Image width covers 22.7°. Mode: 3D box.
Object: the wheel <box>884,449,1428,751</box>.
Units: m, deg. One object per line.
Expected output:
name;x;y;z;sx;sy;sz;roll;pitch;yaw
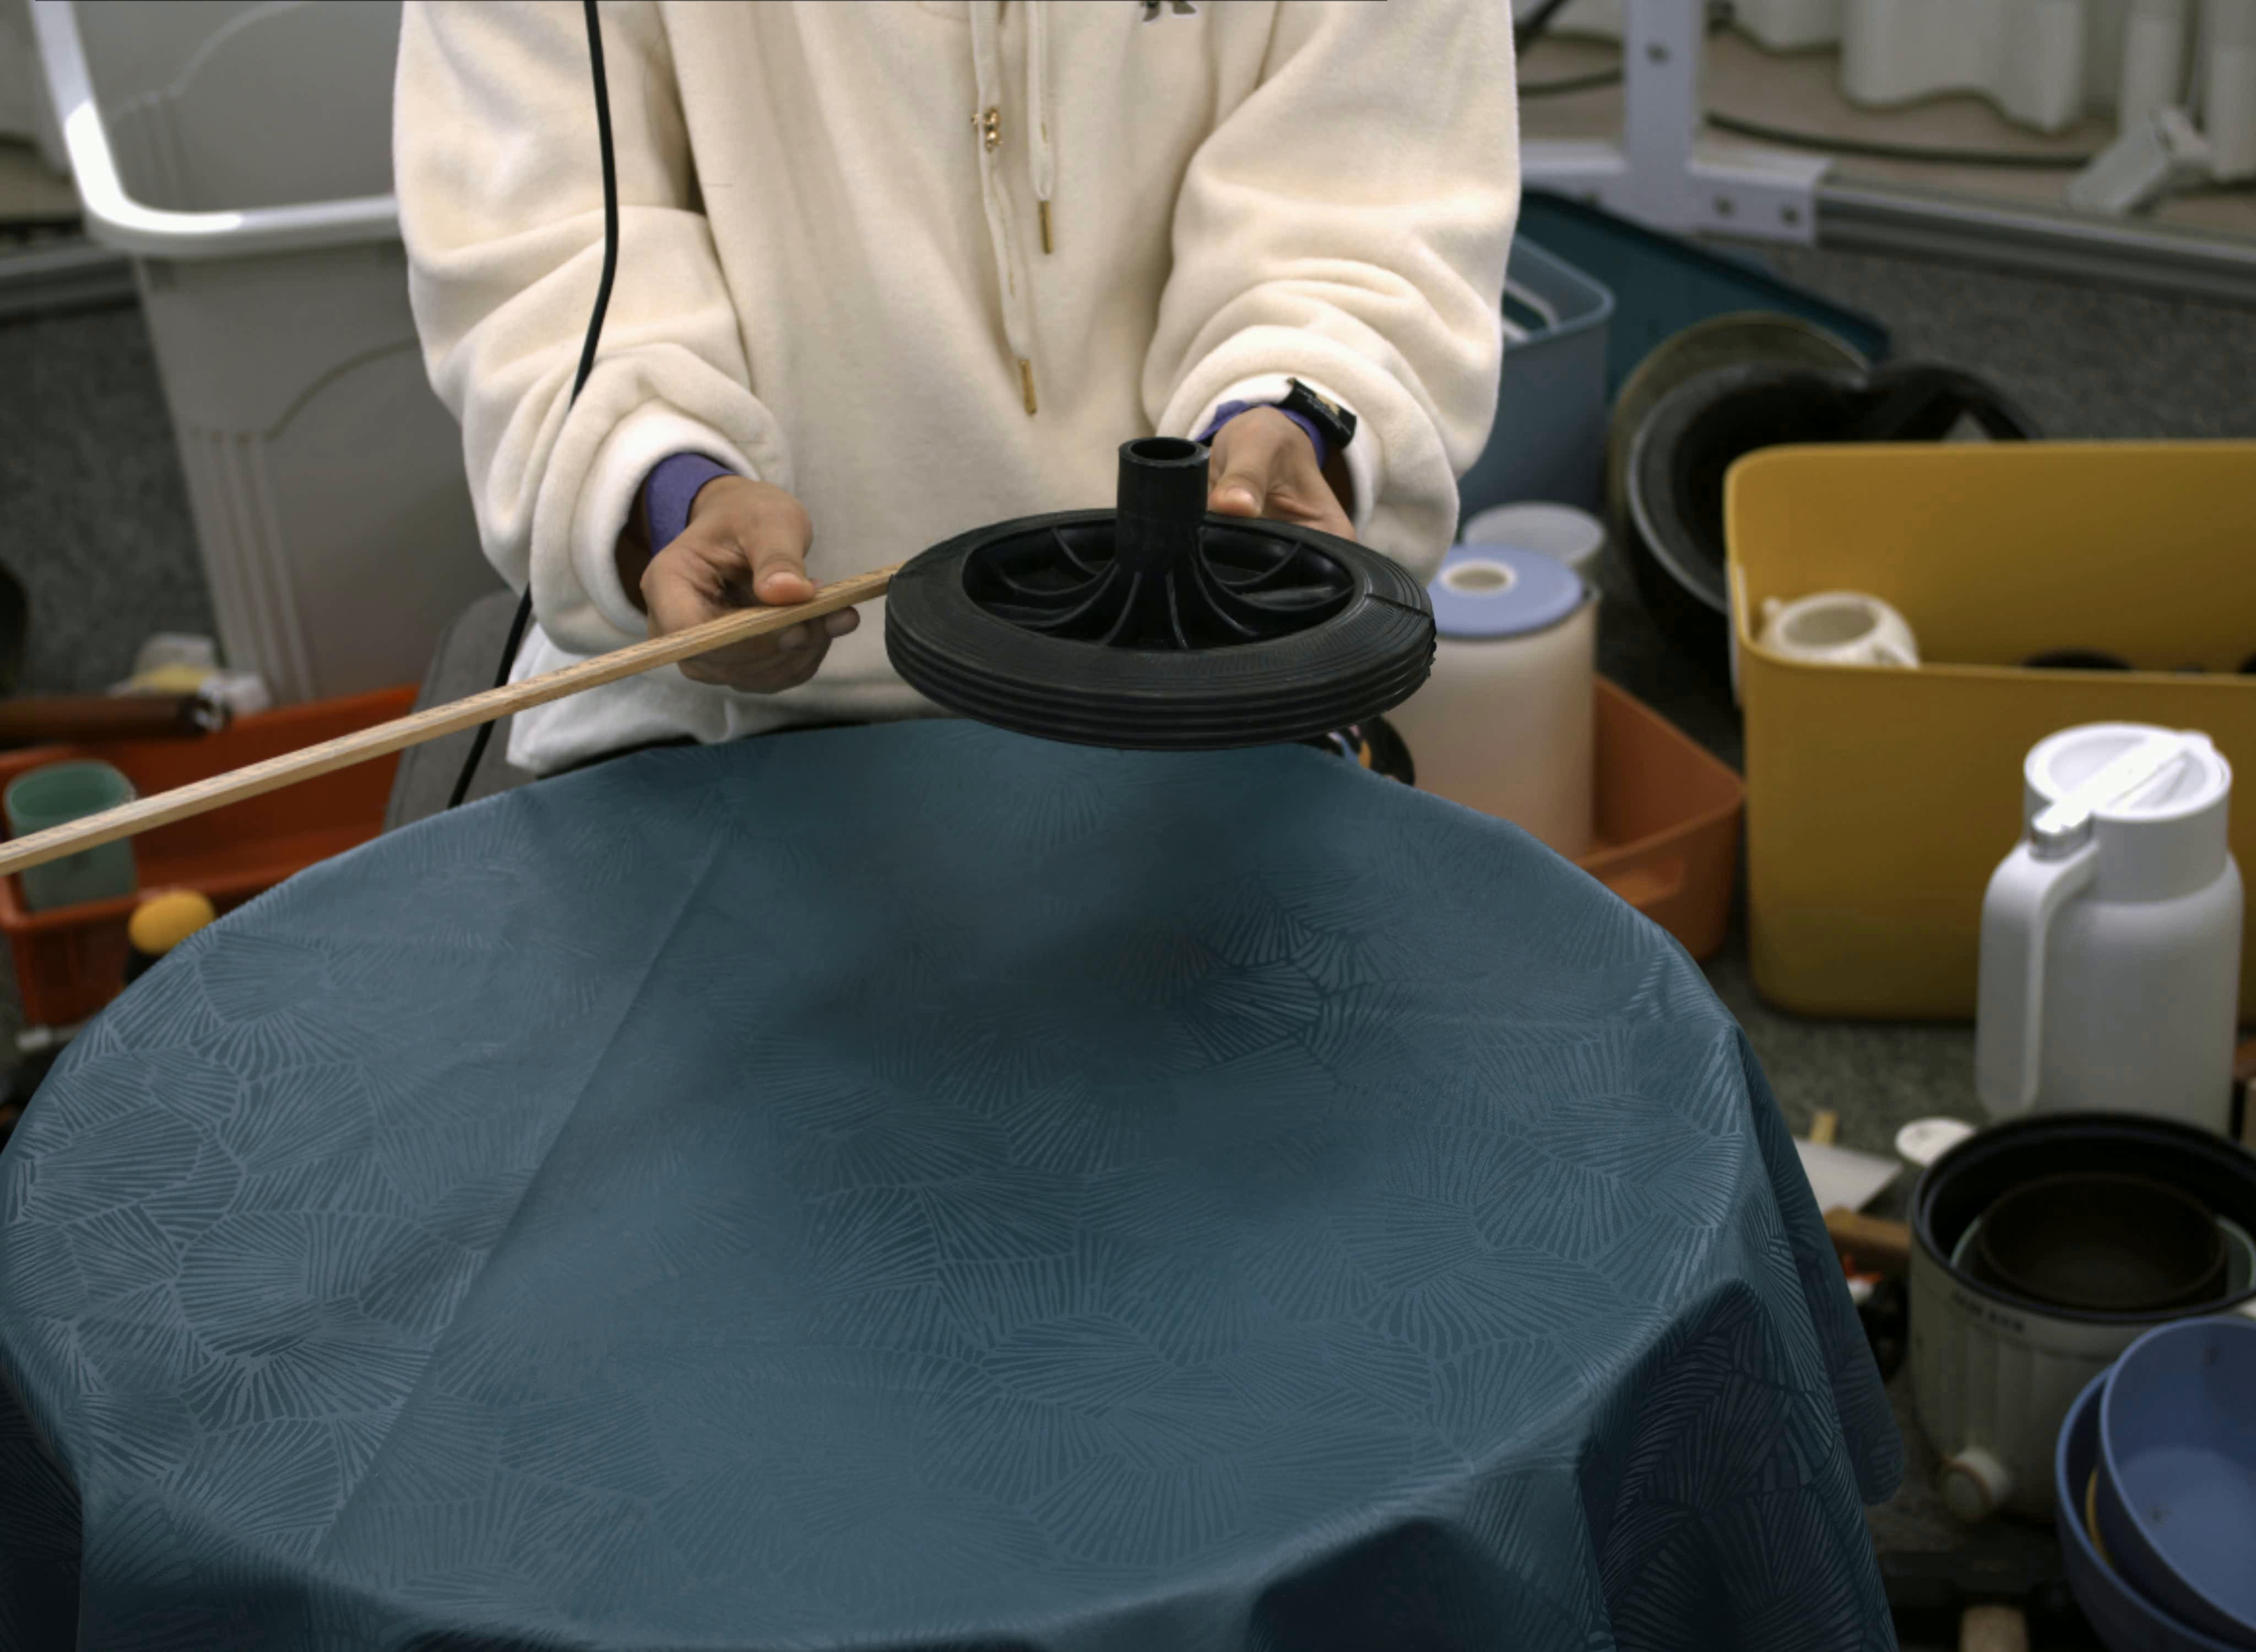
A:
wheel;0.011;-0.086;1.915;0.187;0.078;0.192;21;28;40

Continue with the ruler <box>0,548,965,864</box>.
ruler;-0.209;-0.039;1.817;0.026;0.006;0.506;-1;13;40
